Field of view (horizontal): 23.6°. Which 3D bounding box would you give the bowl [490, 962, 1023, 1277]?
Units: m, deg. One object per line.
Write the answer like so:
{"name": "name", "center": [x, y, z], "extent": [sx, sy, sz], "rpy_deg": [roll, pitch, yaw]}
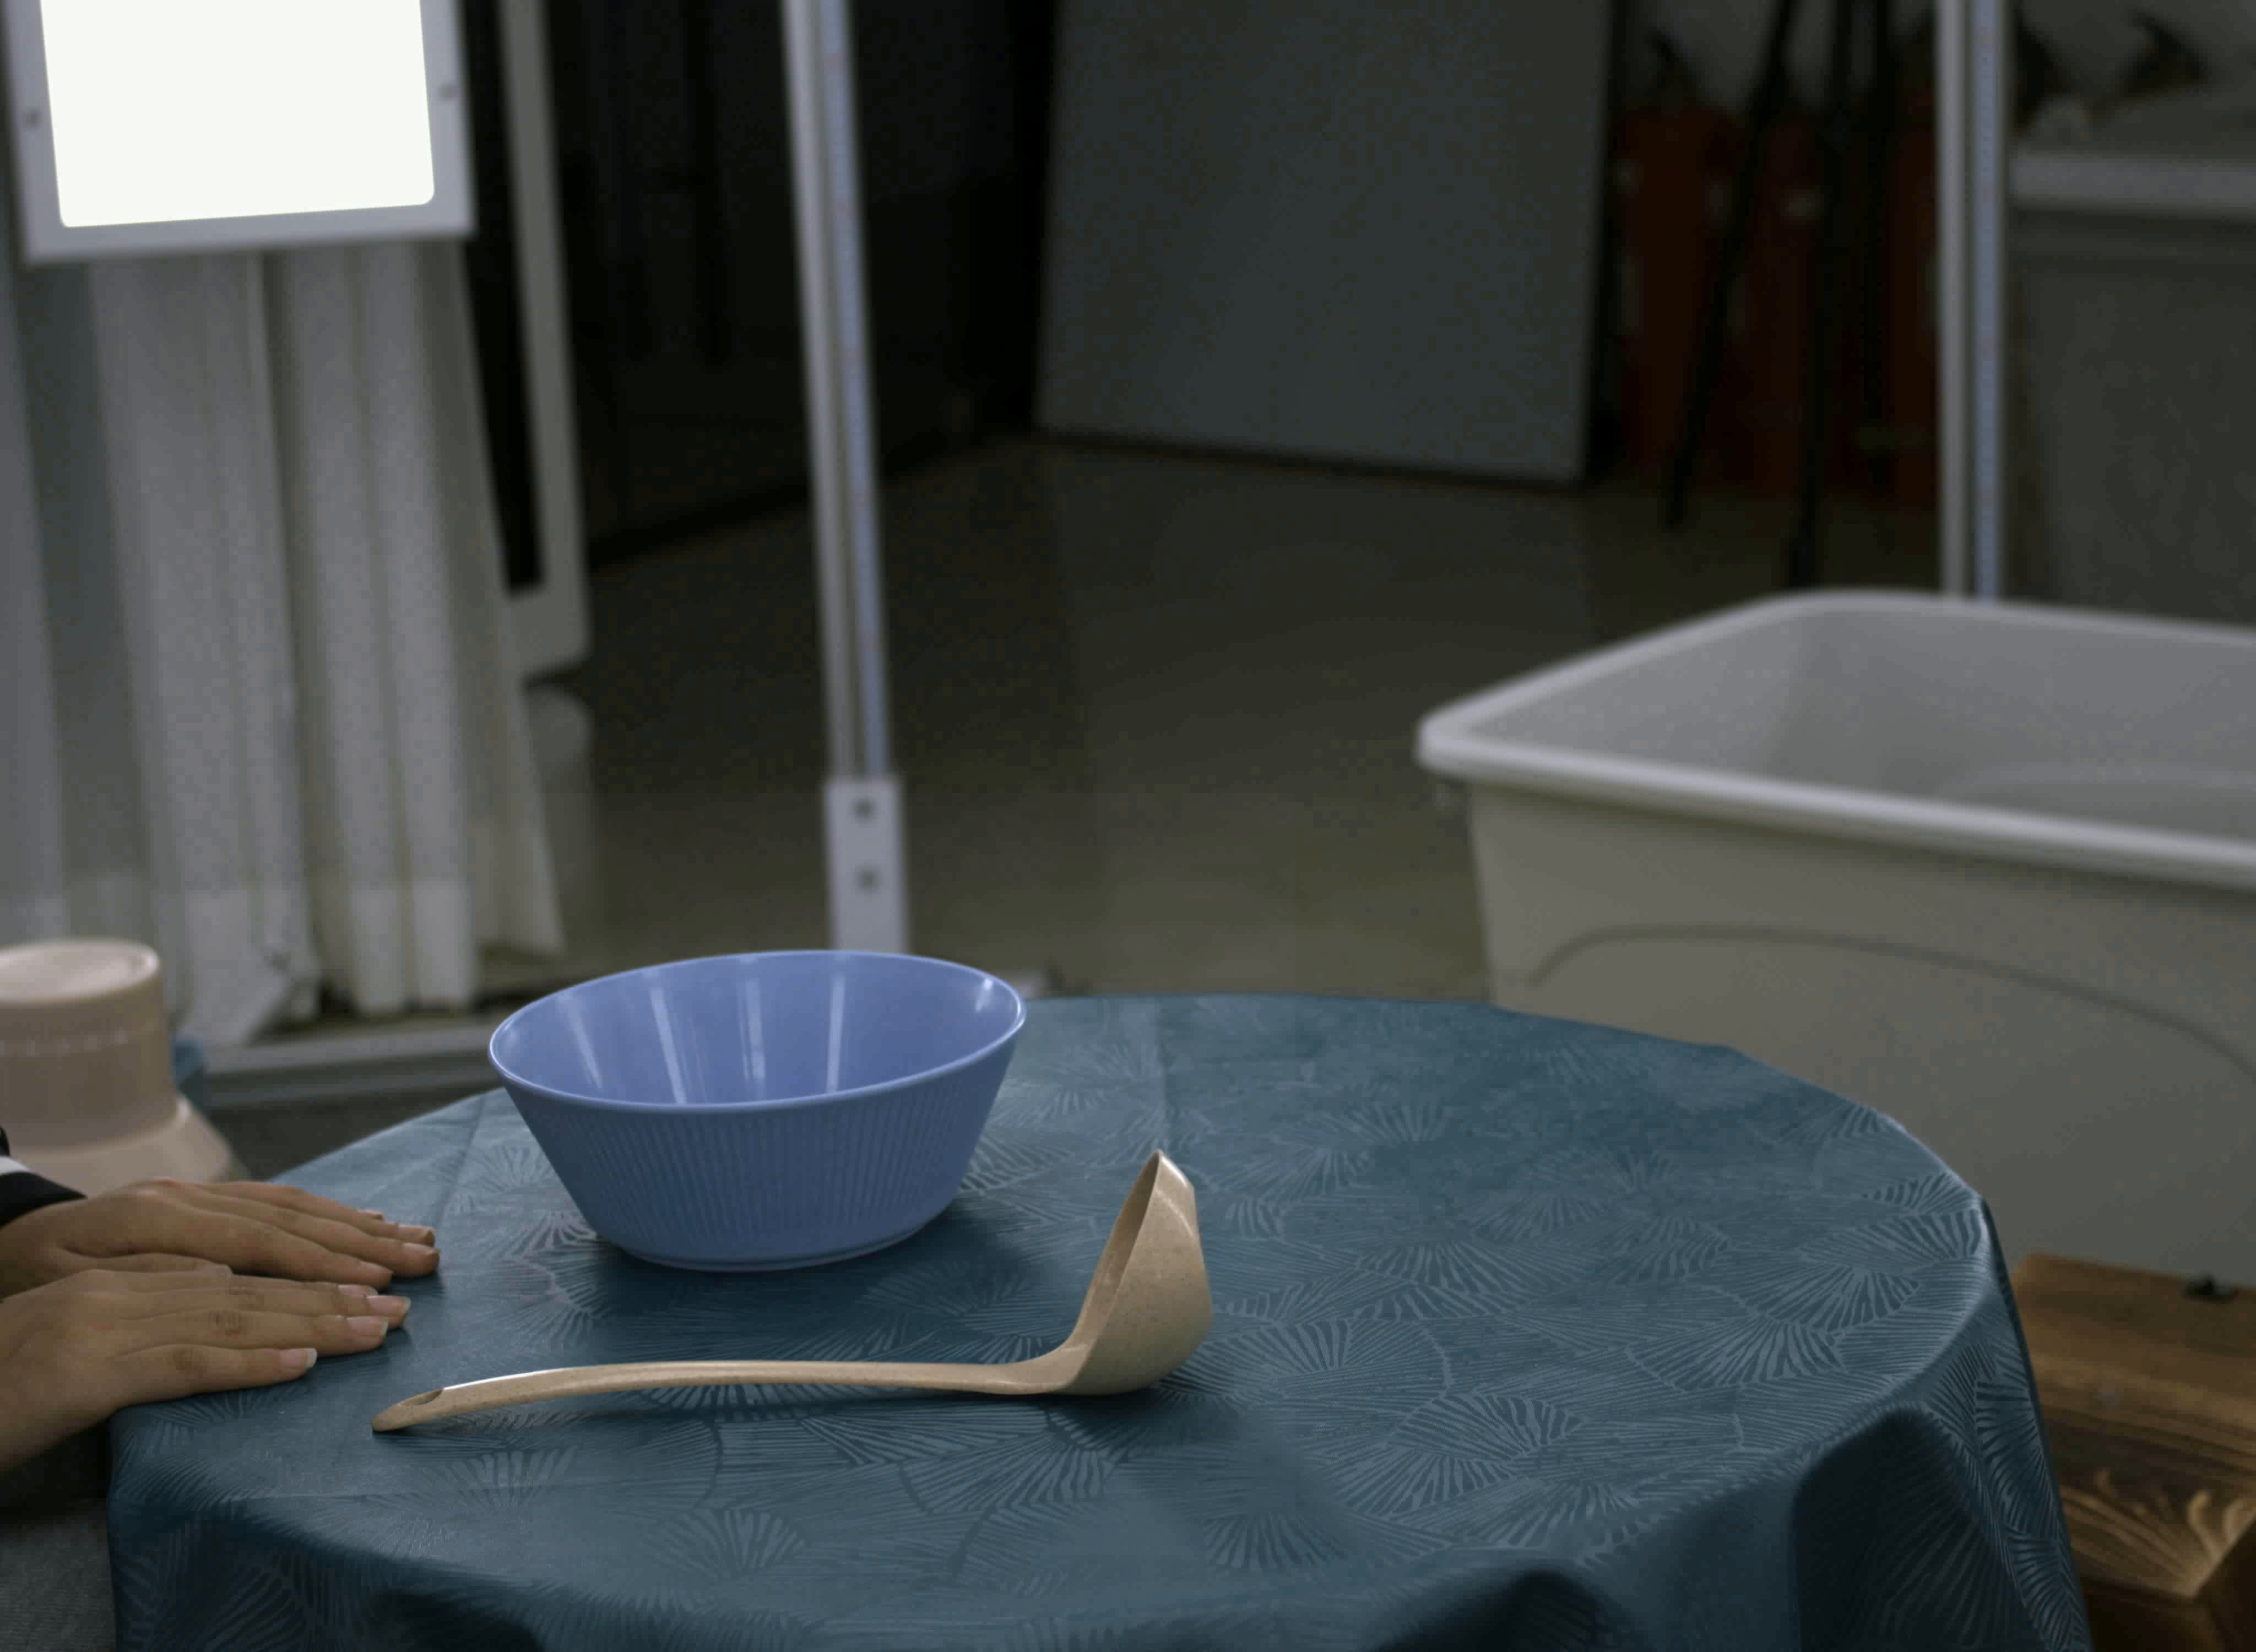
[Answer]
{"name": "bowl", "center": [-0.118, 0.097, 1.756], "extent": [0.174, 0.071, 0.176], "rpy_deg": [-4, 13, 0]}

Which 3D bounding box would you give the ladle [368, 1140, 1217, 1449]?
{"name": "ladle", "center": [-0.100, 0.137, 1.582], "extent": [0.251, 0.073, 0.072], "rpy_deg": [-4, 13, 0]}
